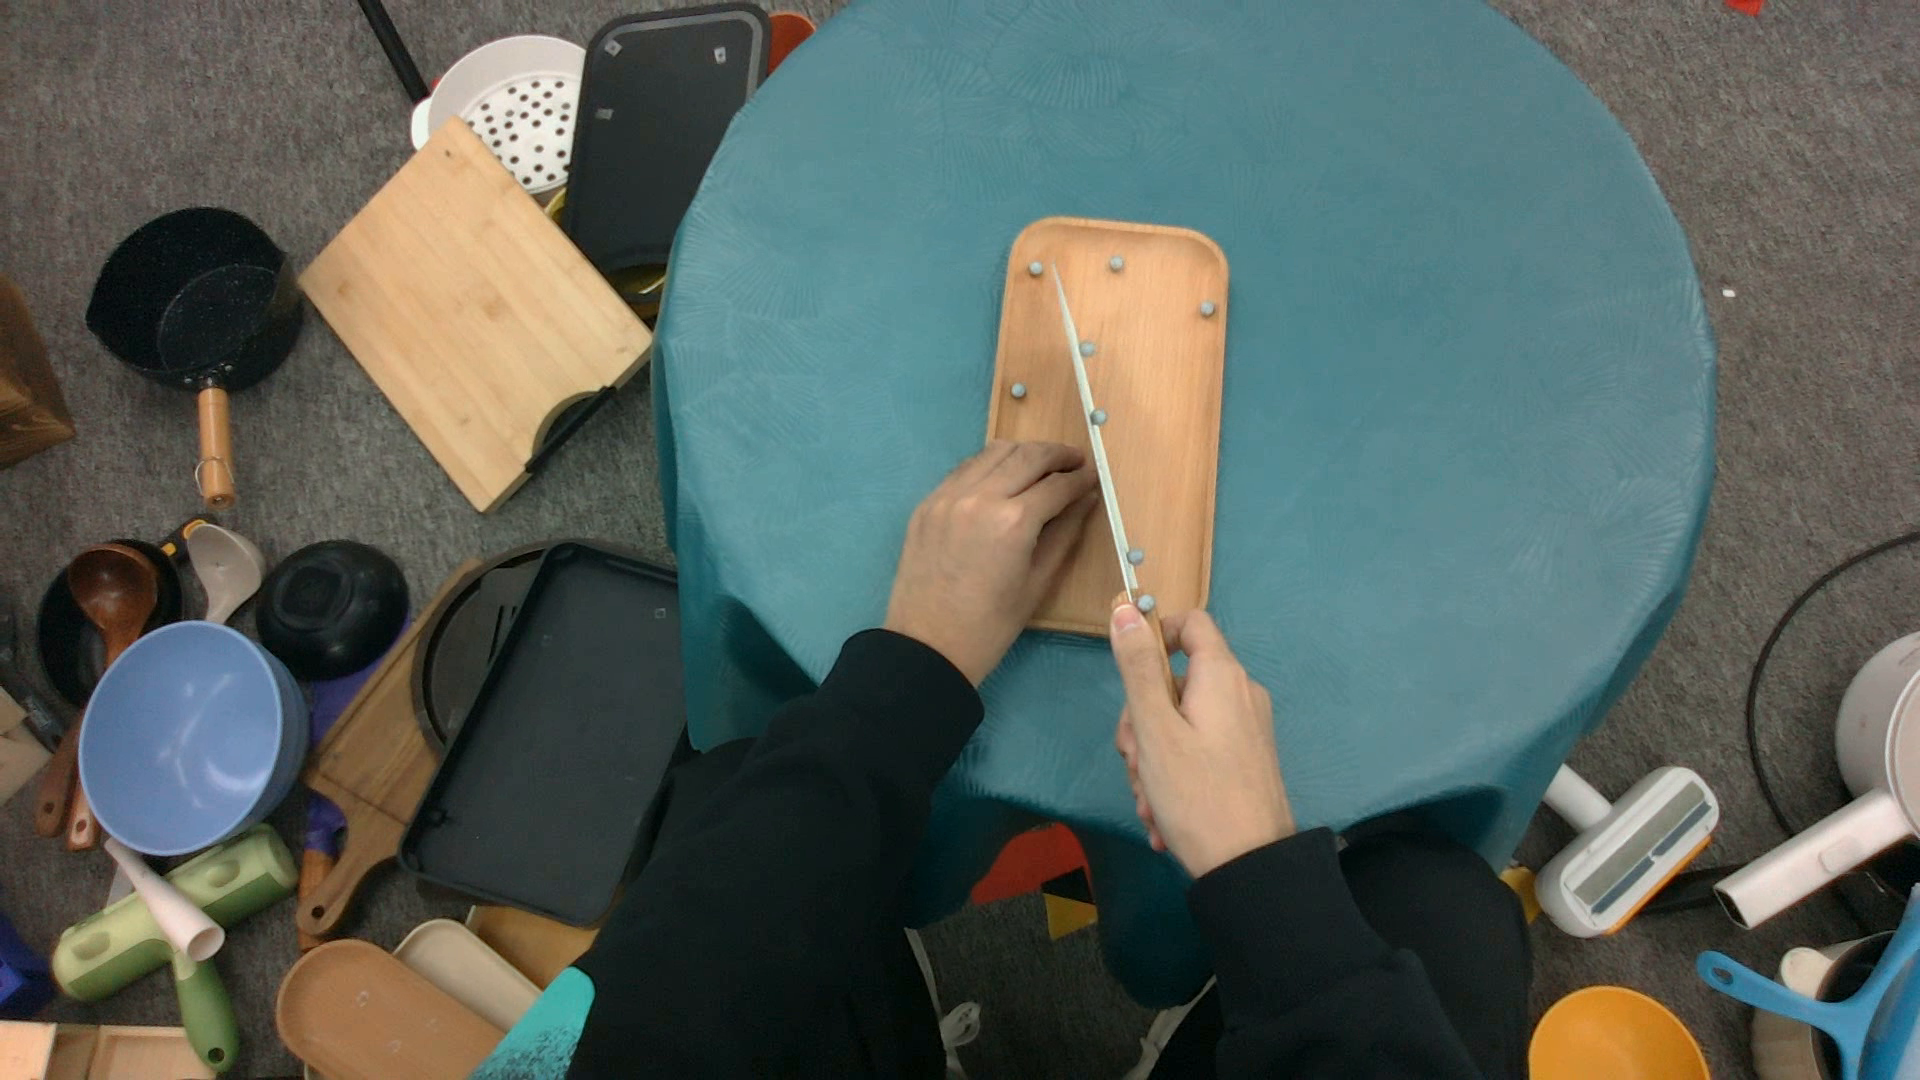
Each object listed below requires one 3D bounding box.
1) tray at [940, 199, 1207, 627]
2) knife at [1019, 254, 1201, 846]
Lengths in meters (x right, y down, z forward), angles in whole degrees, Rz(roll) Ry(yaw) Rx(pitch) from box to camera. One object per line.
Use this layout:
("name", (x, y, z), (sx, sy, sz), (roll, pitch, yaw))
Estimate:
("tray", (0.066, -0.075, 0.761), (0.130, 0.023, 0.251), (7, 70, 4))
("knife", (0.071, 0.002, 0.676), (0.021, 0.093, 0.306), (-16, 67, 9))
